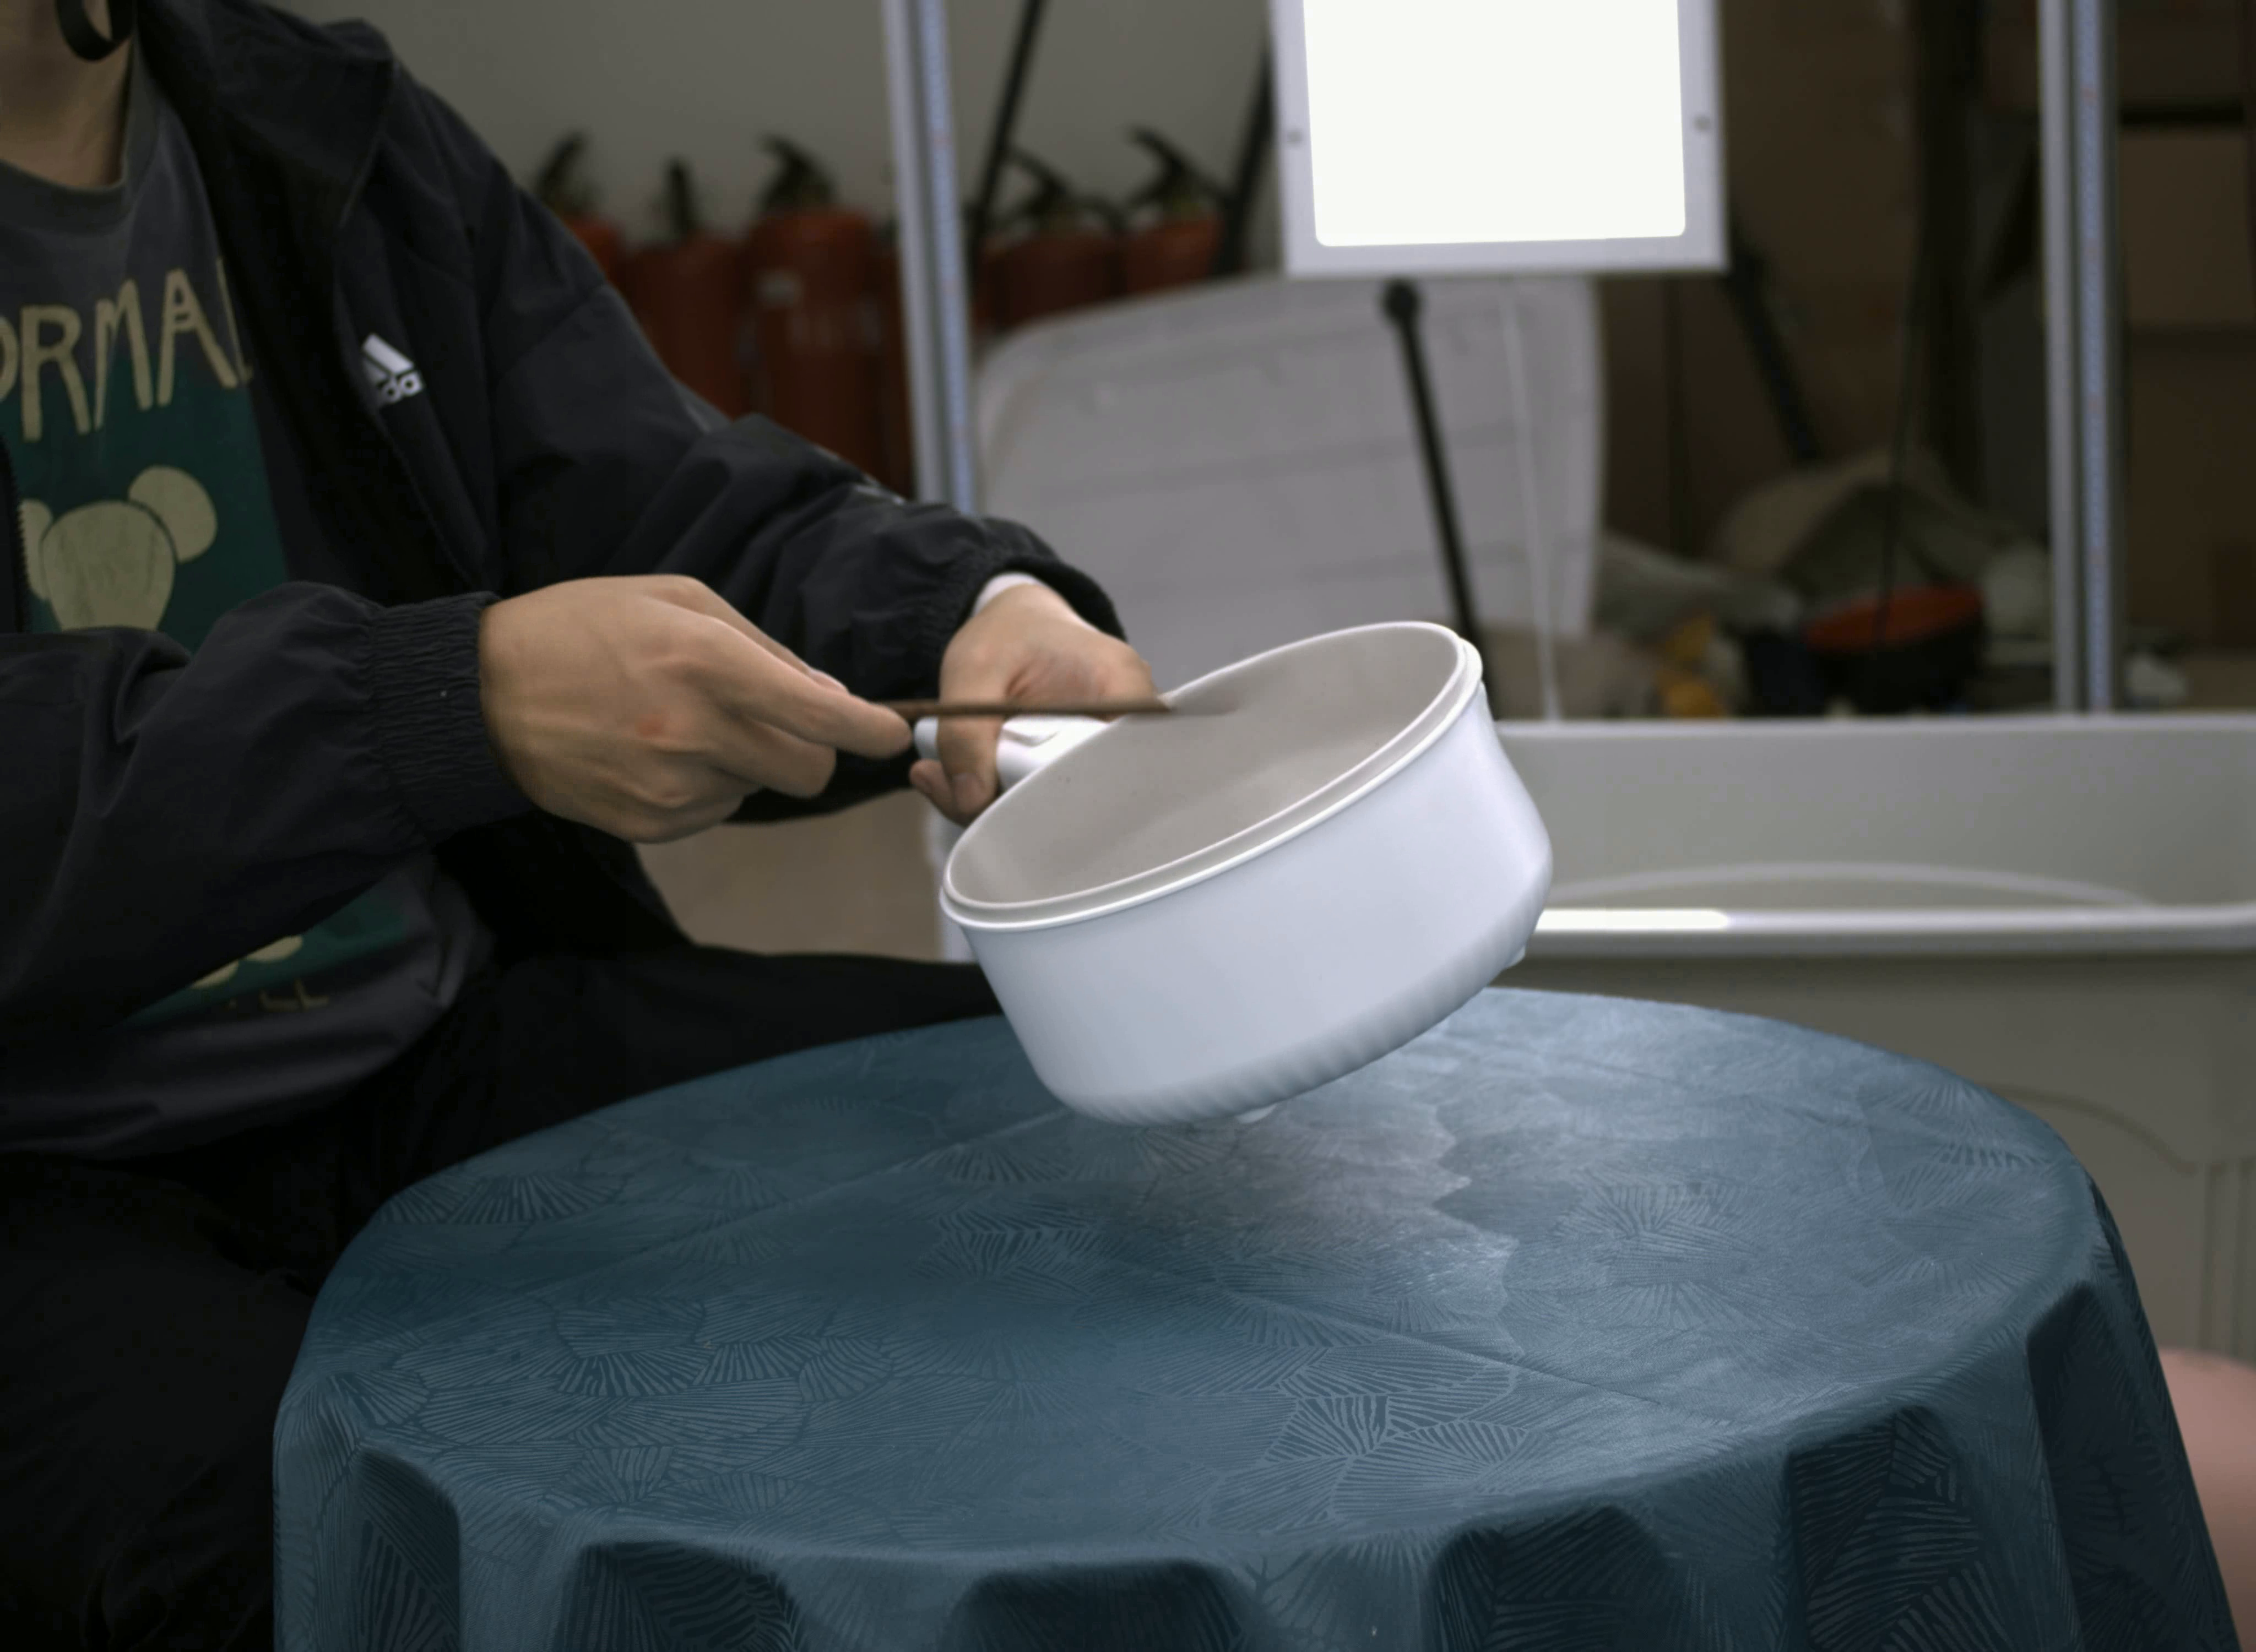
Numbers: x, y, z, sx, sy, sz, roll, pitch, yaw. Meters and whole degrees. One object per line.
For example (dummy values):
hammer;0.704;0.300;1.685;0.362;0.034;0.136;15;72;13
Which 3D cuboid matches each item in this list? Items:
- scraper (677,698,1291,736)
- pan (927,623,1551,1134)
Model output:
scraper;-0.049;-0.037;1.885;0.211;0.011;0.075;0;4;2
pan;0.018;0.015;1.943;0.199;0.102;0.360;-32;15;-15
